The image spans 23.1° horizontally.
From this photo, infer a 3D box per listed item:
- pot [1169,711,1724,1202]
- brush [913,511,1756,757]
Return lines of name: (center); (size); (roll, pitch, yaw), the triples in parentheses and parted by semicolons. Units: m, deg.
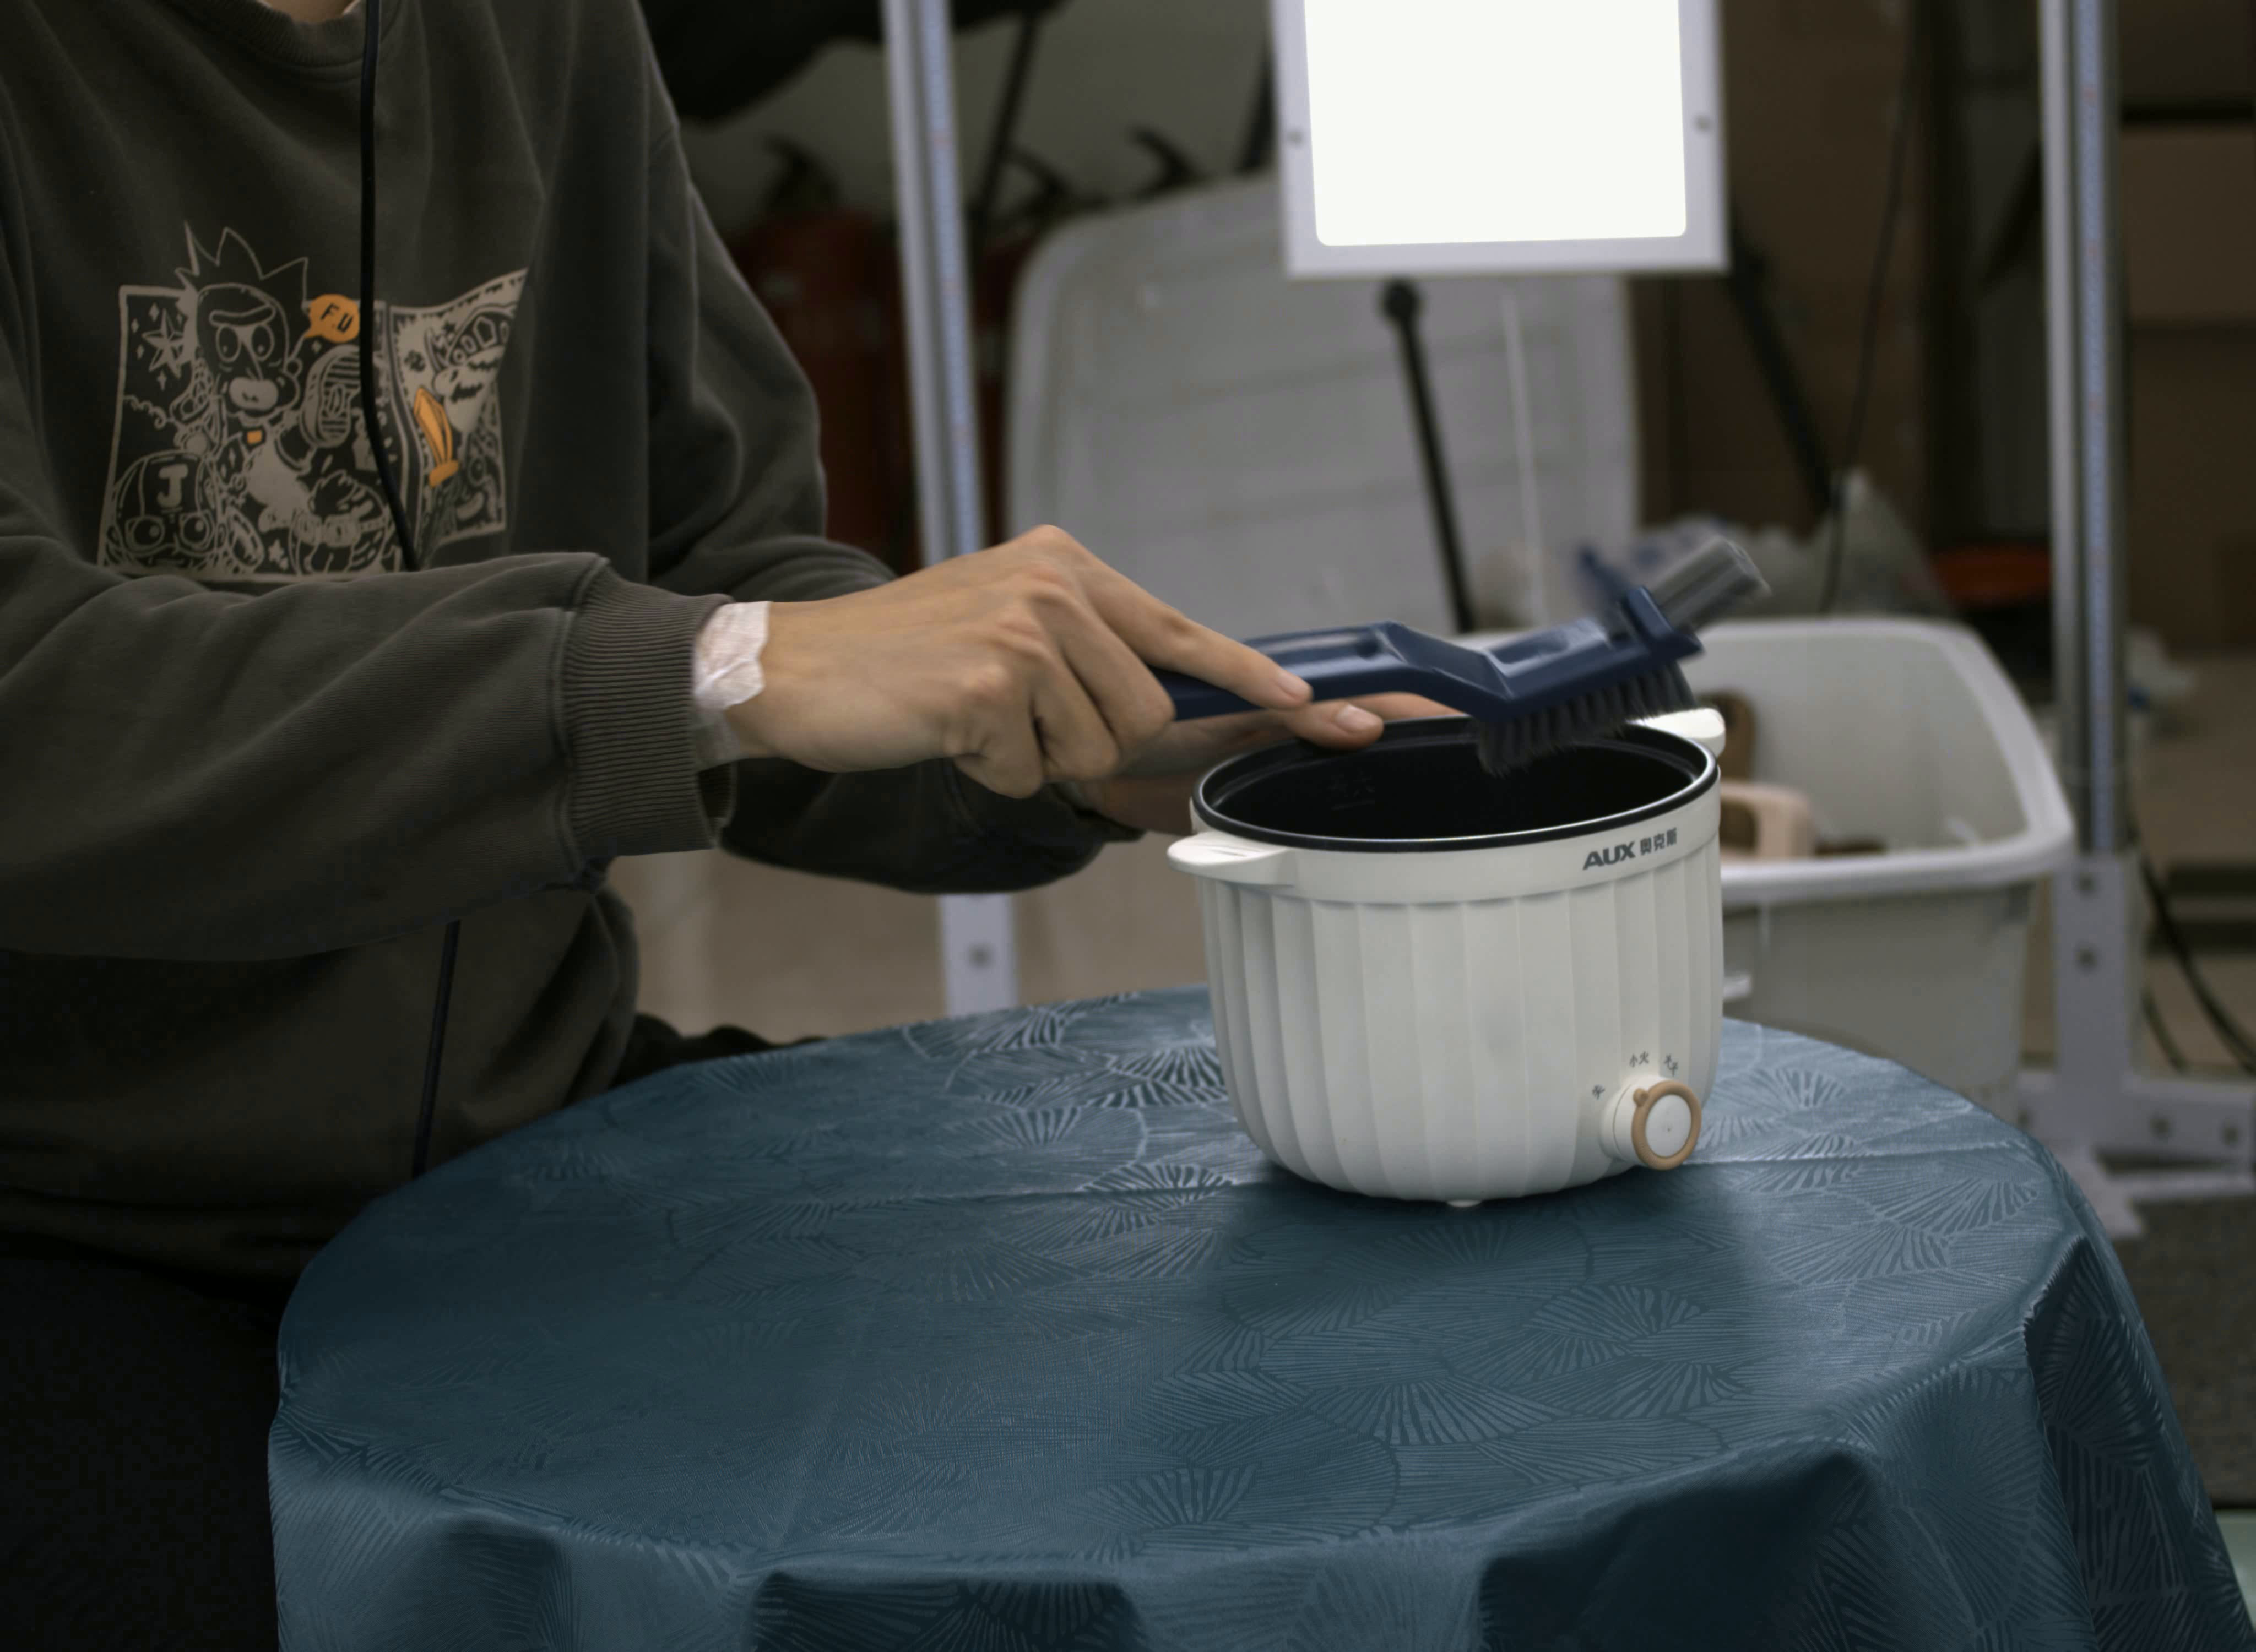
pot: (0.121, 0.046, 1.887); (0.234, 0.143, 0.194); (-16, 15, -34)
brush: (0.067, -0.060, 1.759); (0.267, 0.097, 0.034); (-2, 45, -24)
